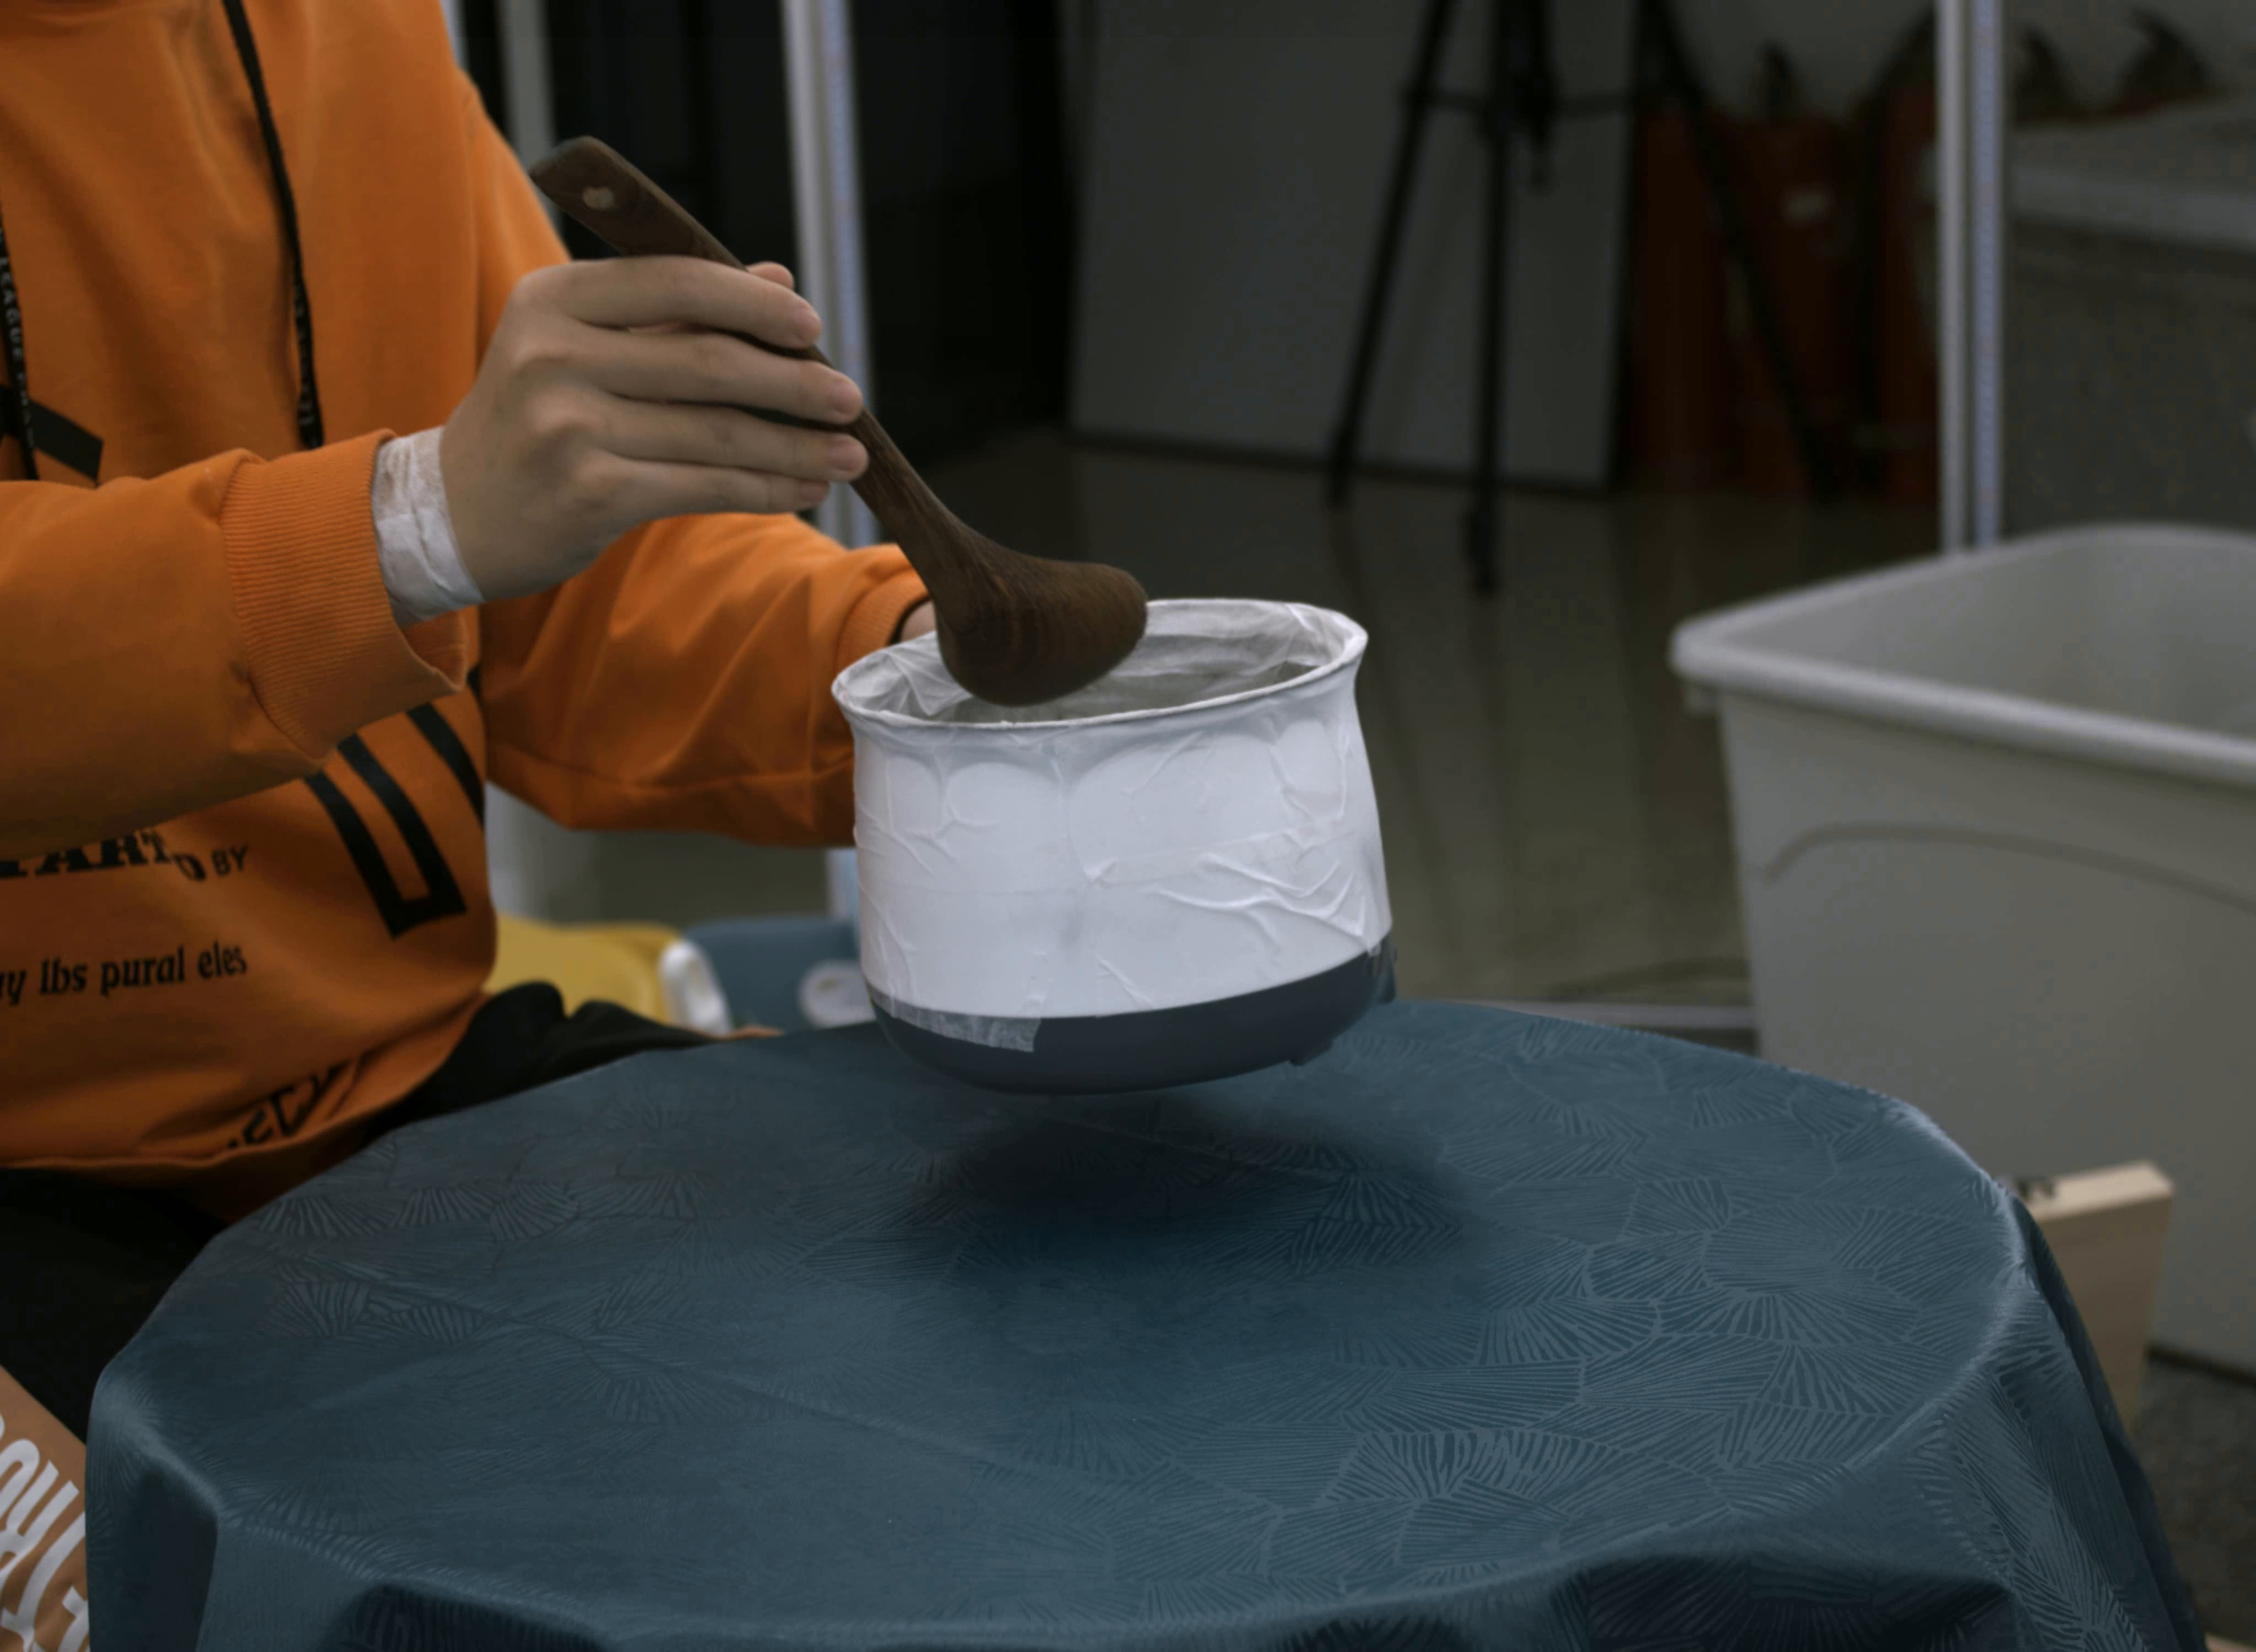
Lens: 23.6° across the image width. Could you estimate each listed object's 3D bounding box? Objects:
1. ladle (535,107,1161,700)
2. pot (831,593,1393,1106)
[{"bbox_3d":[-0.089,-0.138,1.720,0.076,0.272,0.072,-34,27,19],"label":"ladle"},{"bbox_3d":[-0.011,0.000,1.793,0.175,0.138,0.235,-8,13,-12],"label":"pot"}]
